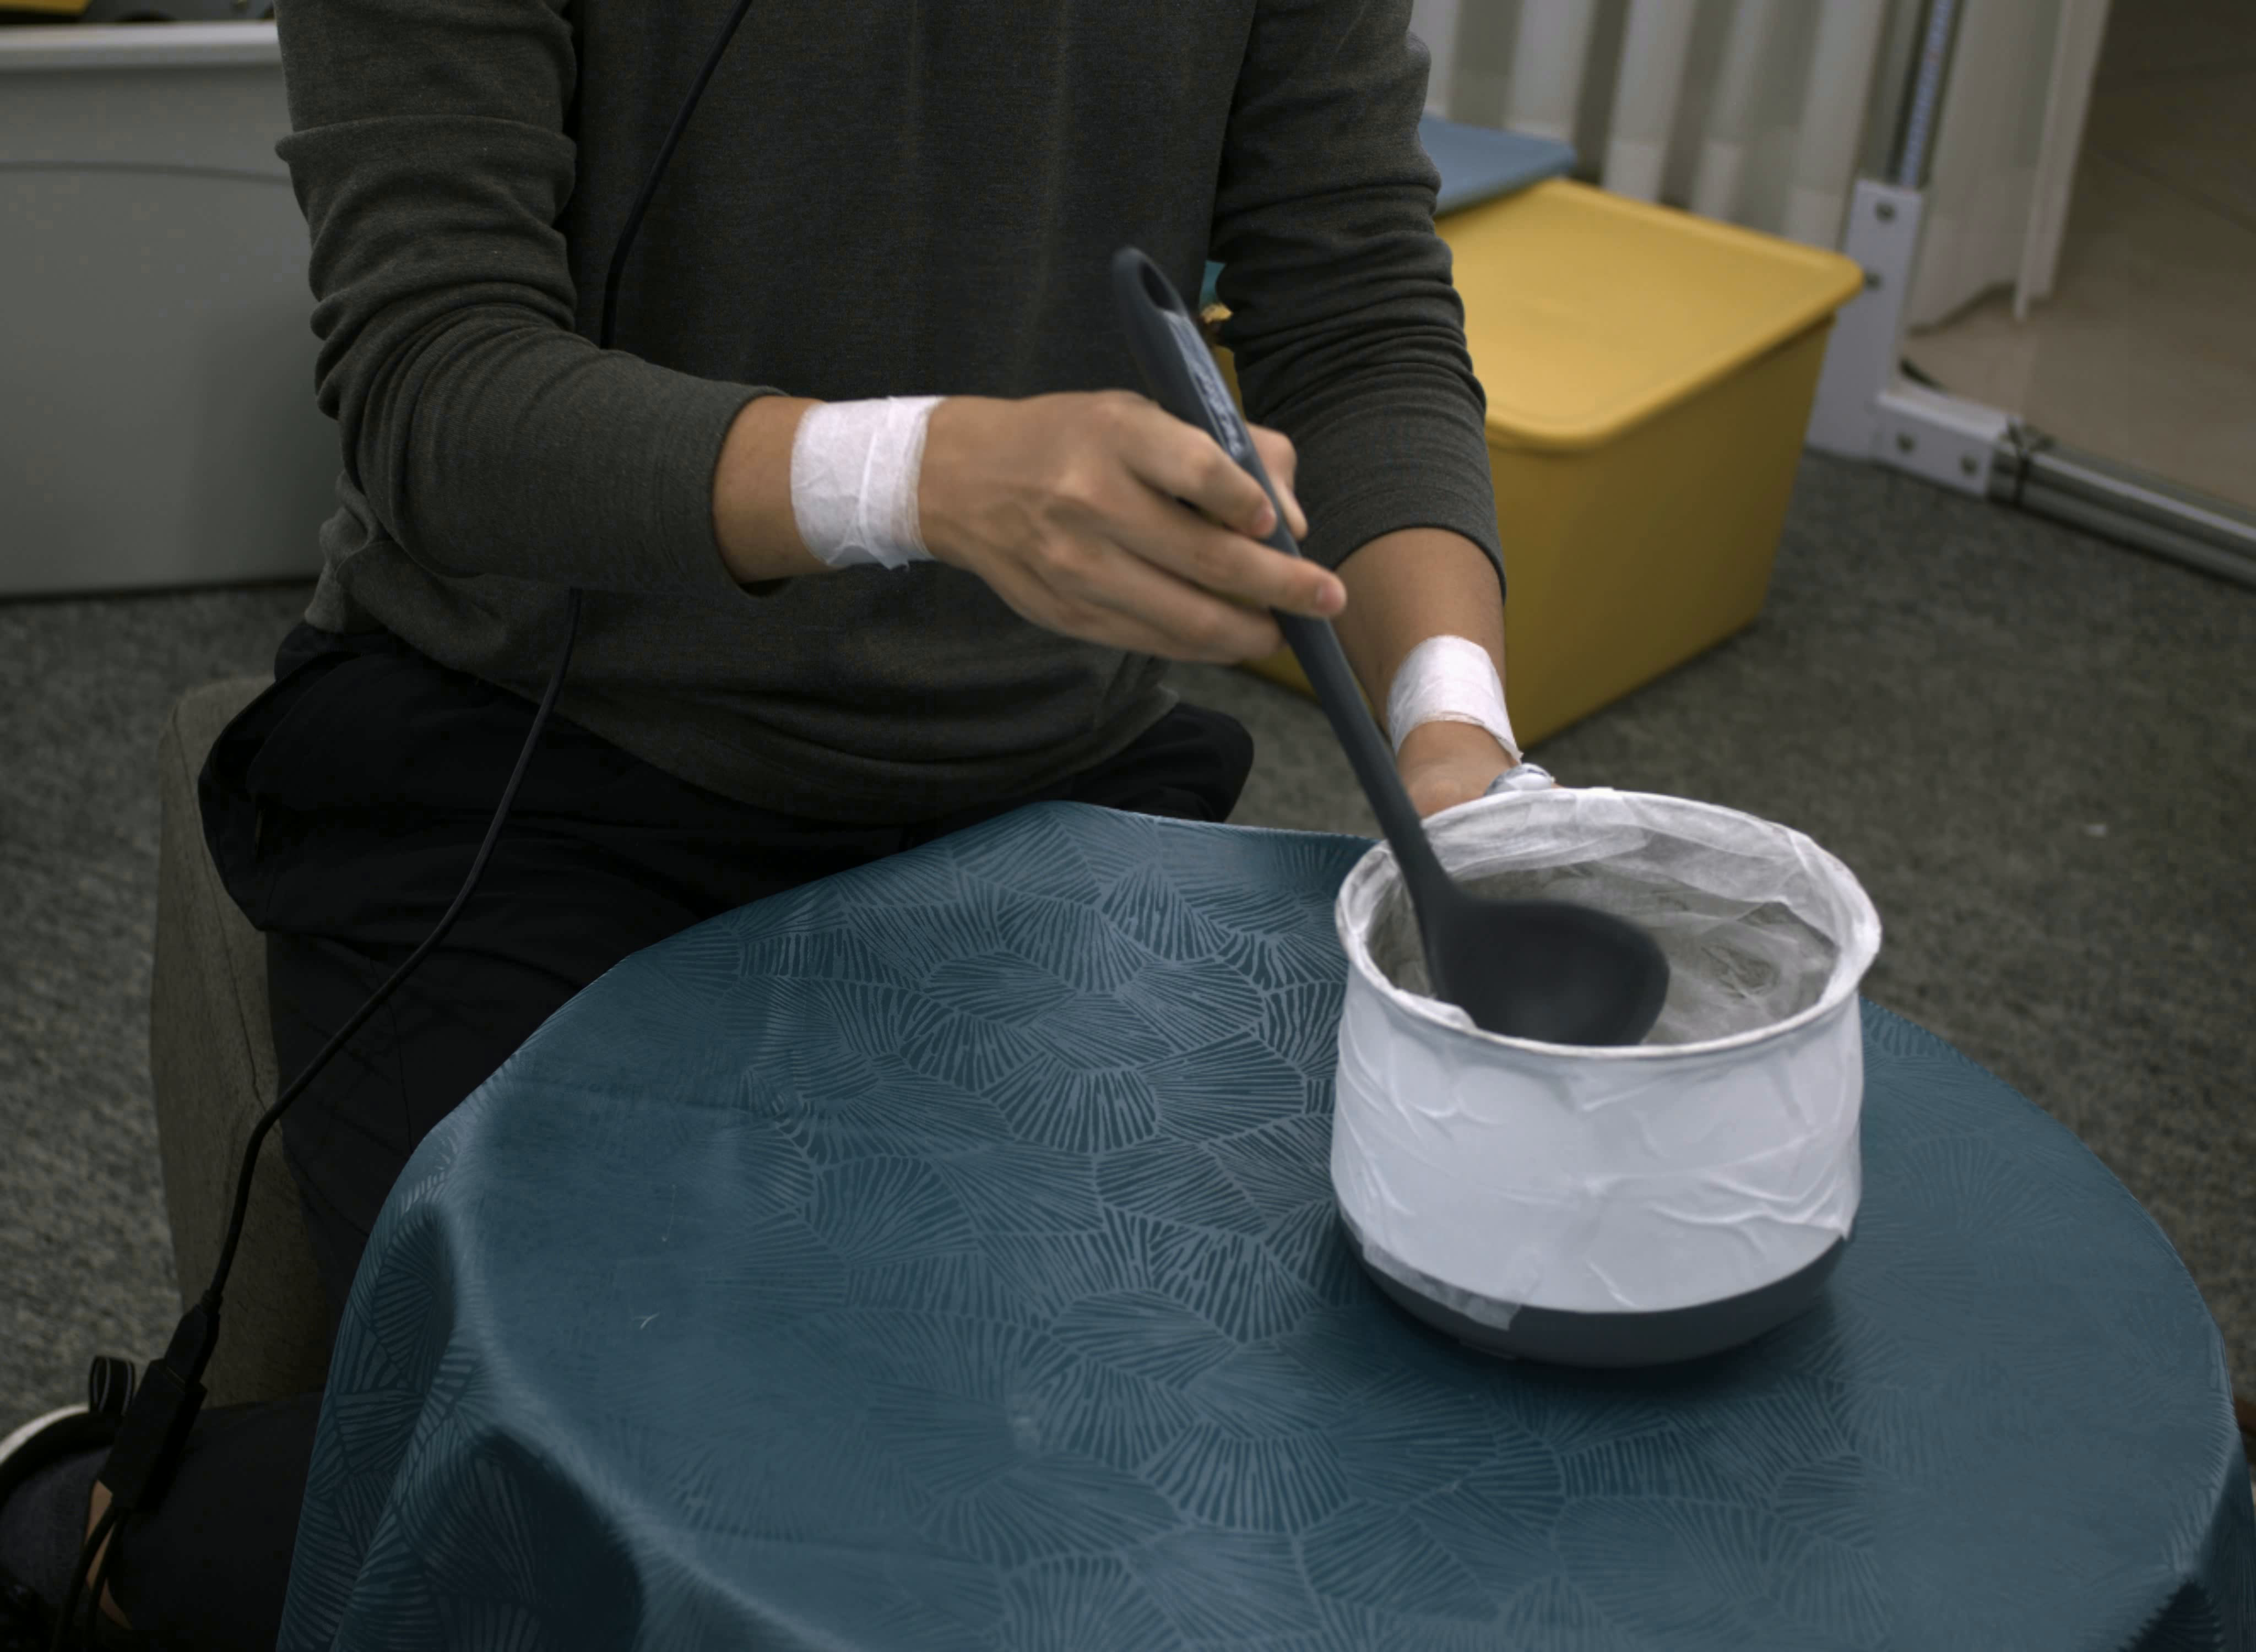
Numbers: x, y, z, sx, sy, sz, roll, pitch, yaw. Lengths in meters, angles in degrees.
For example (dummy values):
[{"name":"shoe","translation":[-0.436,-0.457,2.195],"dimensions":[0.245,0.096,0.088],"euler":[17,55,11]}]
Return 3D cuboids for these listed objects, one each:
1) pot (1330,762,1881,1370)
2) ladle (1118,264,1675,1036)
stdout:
[{"name":"pot","translation":[0.149,0.072,1.778],"dimensions":[0.178,0.136,0.235],"euler":[-6,28,-11]},{"name":"ladle","translation":[0.083,-0.047,1.719],"dimensions":[0.064,0.313,0.086],"euler":[-10,25,41]}]
